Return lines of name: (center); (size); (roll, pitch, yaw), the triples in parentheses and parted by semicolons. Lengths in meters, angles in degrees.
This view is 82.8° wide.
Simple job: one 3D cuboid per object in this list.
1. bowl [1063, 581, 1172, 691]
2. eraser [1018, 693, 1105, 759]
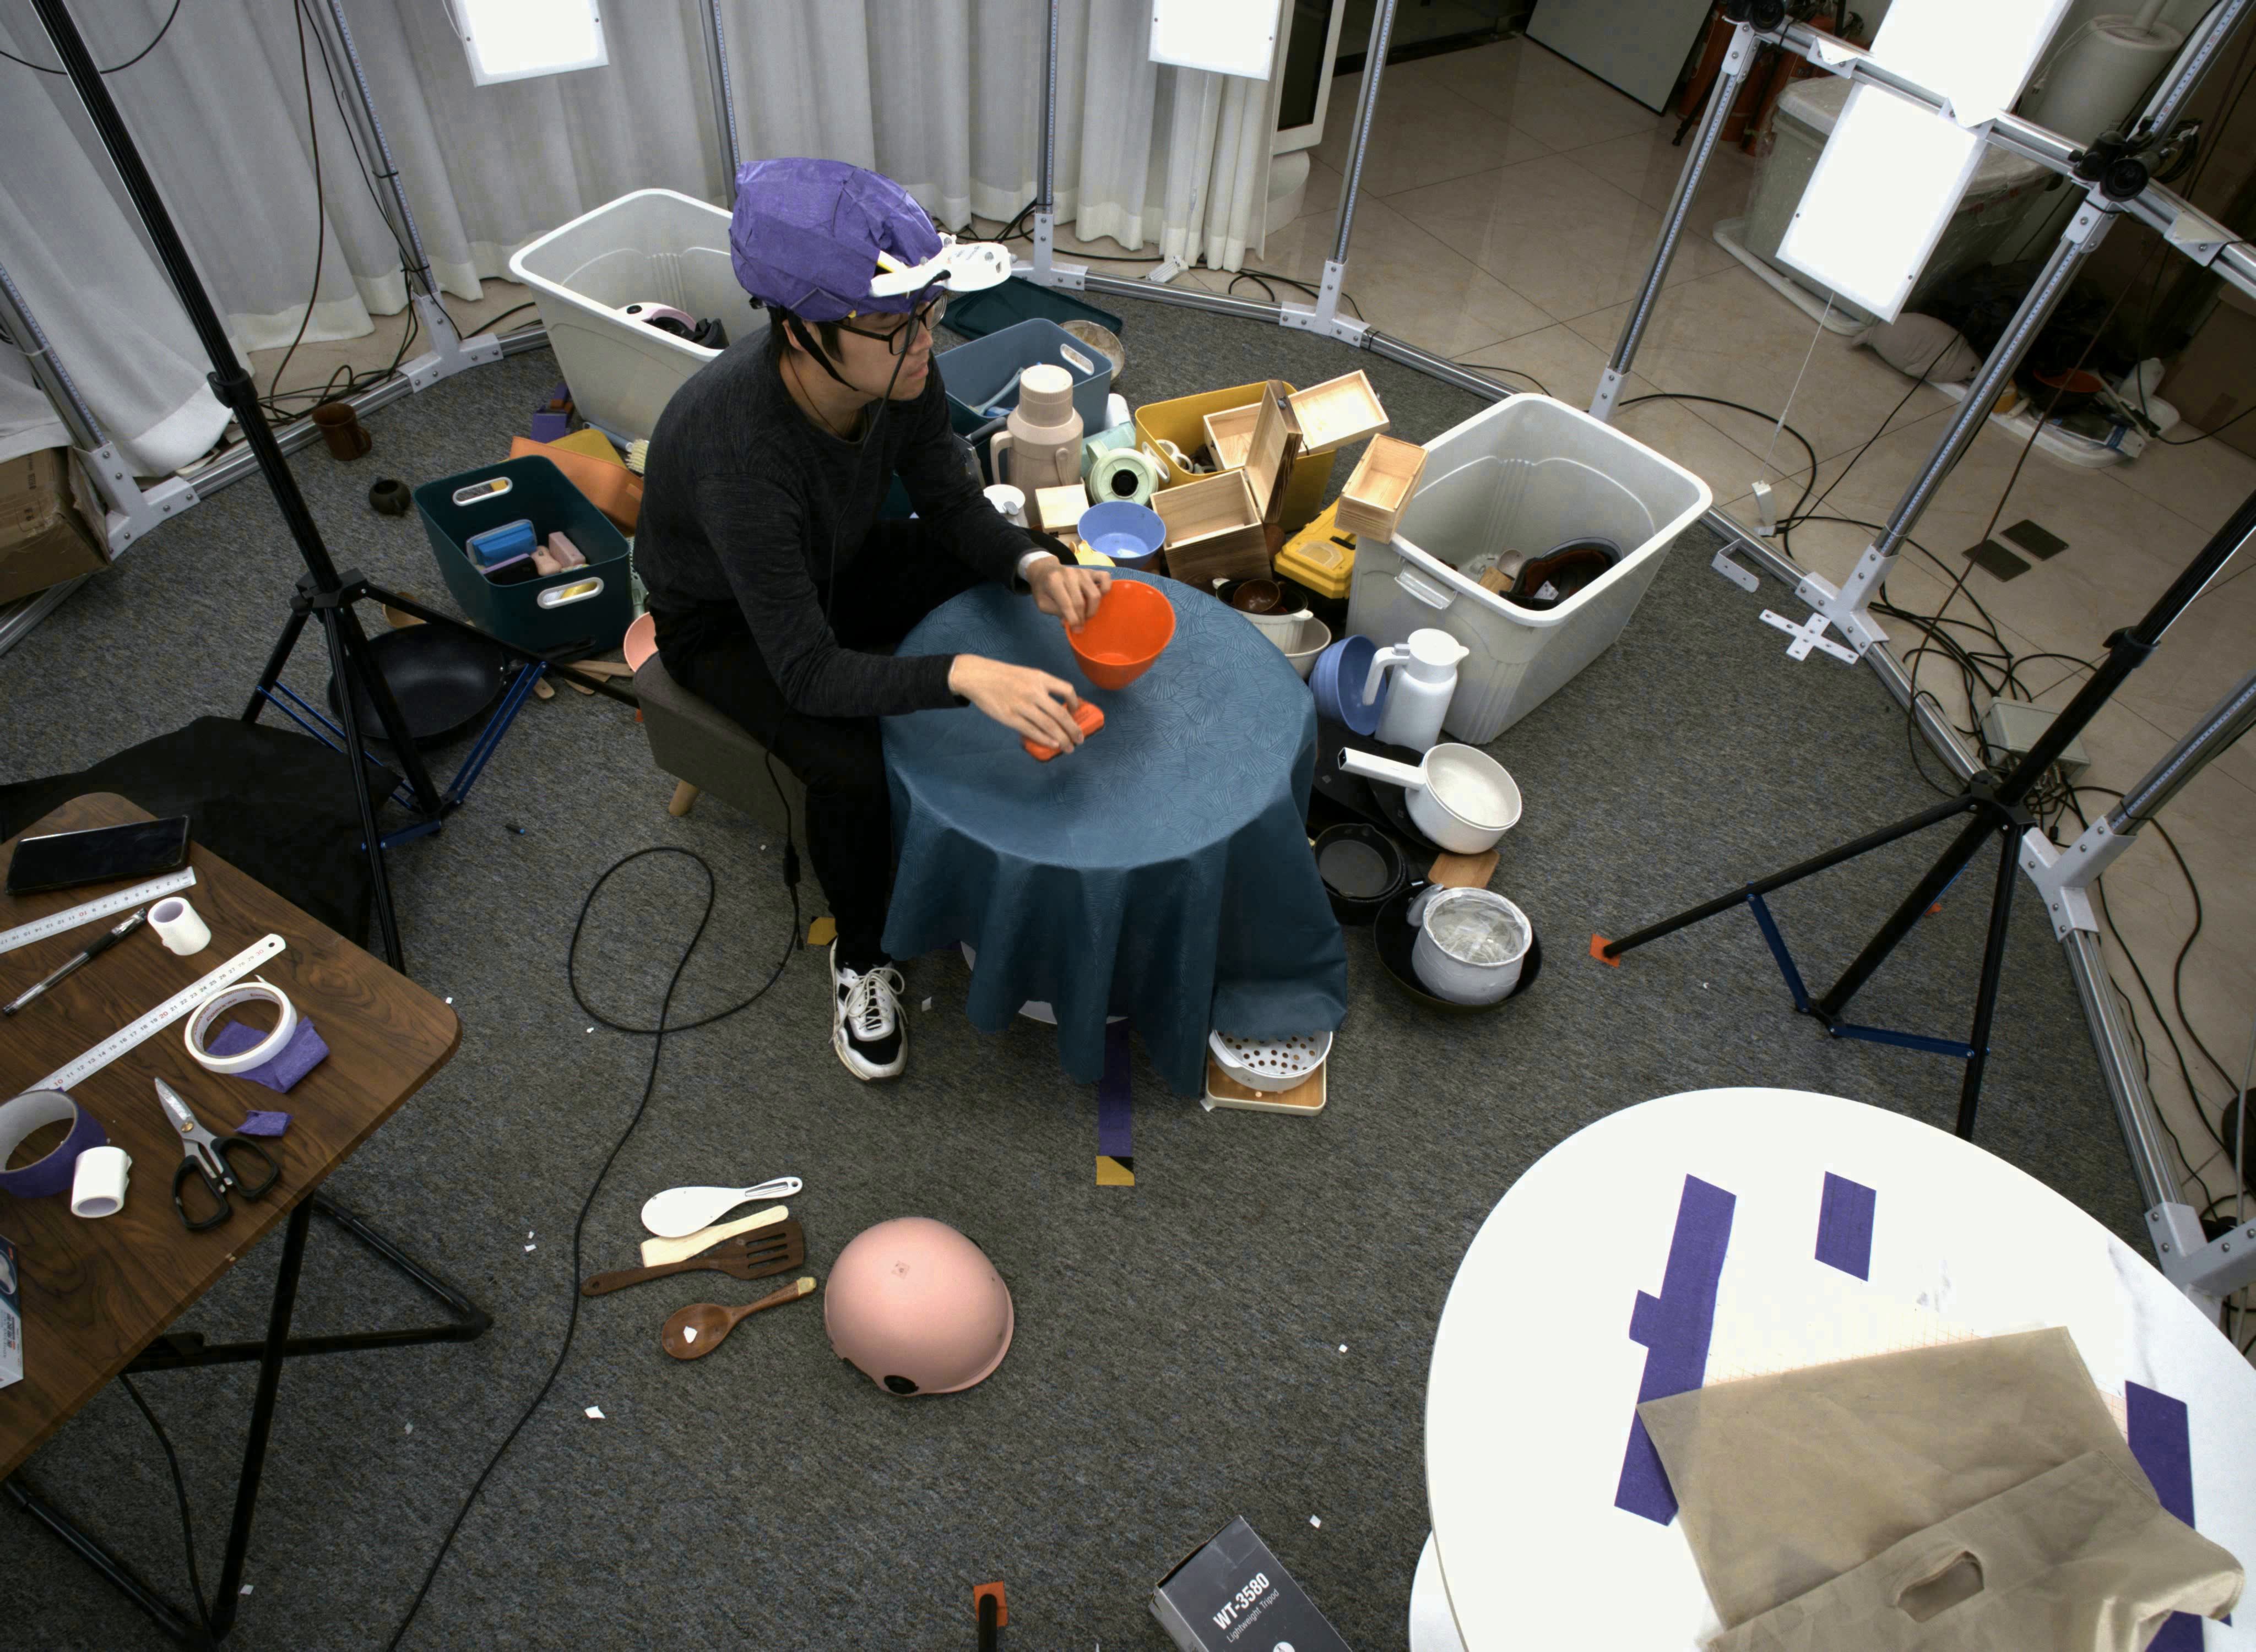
bowl: (-0.018, -0.252, 1.776); (0.148, 0.102, 0.152); (3, 51, -3)
eraser: (-0.086, -0.130, 1.660); (0.109, 0.022, 0.060); (-33, 51, -26)
